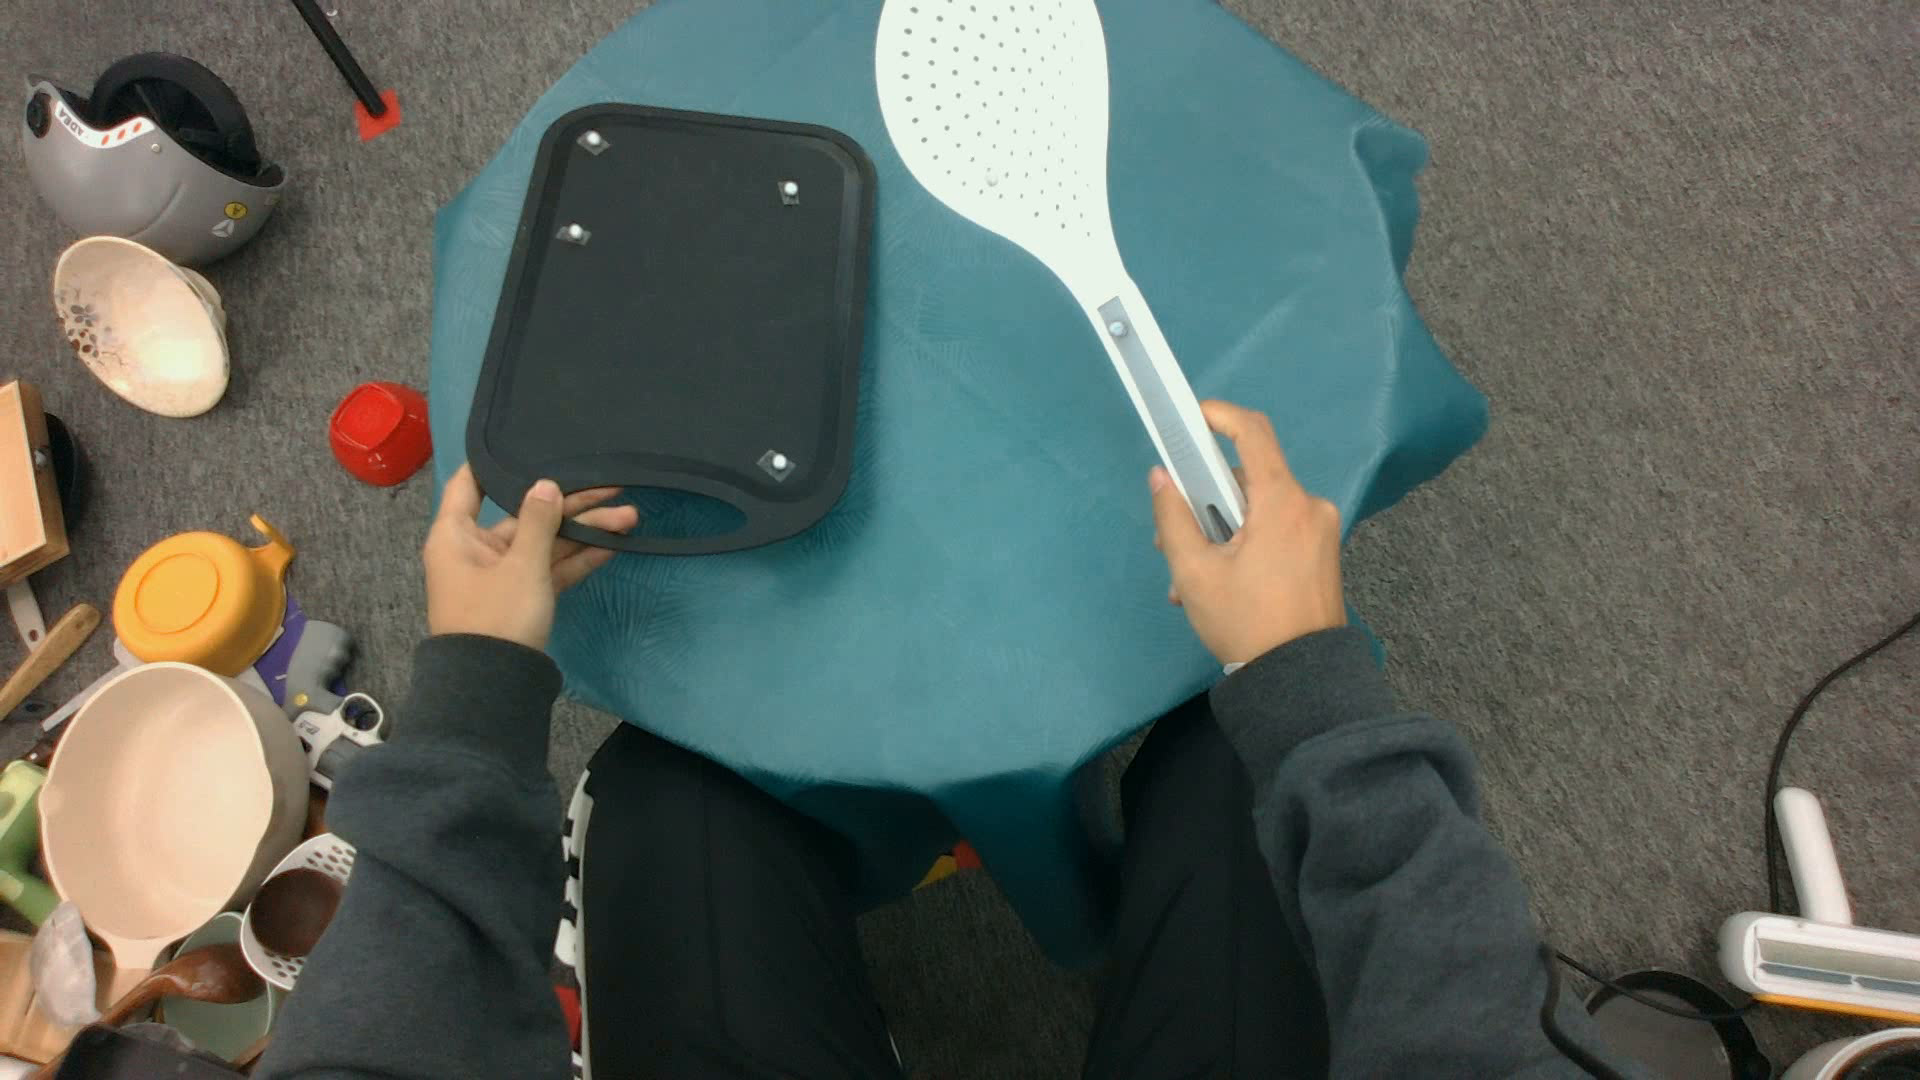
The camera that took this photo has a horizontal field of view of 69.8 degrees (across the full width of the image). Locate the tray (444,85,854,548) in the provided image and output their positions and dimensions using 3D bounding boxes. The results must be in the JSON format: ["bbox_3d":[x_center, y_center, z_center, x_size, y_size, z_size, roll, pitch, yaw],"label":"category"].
[{"bbox_3d":[-0.174,-0.141,0.809,0.211,0.010,0.326,6,62,-7],"label":"tray"}]

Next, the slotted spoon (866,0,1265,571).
[{"bbox_3d":[0.059,-0.143,0.674,0.046,0.135,0.350,-22,86,-42],"label":"slotted spoon"}]
